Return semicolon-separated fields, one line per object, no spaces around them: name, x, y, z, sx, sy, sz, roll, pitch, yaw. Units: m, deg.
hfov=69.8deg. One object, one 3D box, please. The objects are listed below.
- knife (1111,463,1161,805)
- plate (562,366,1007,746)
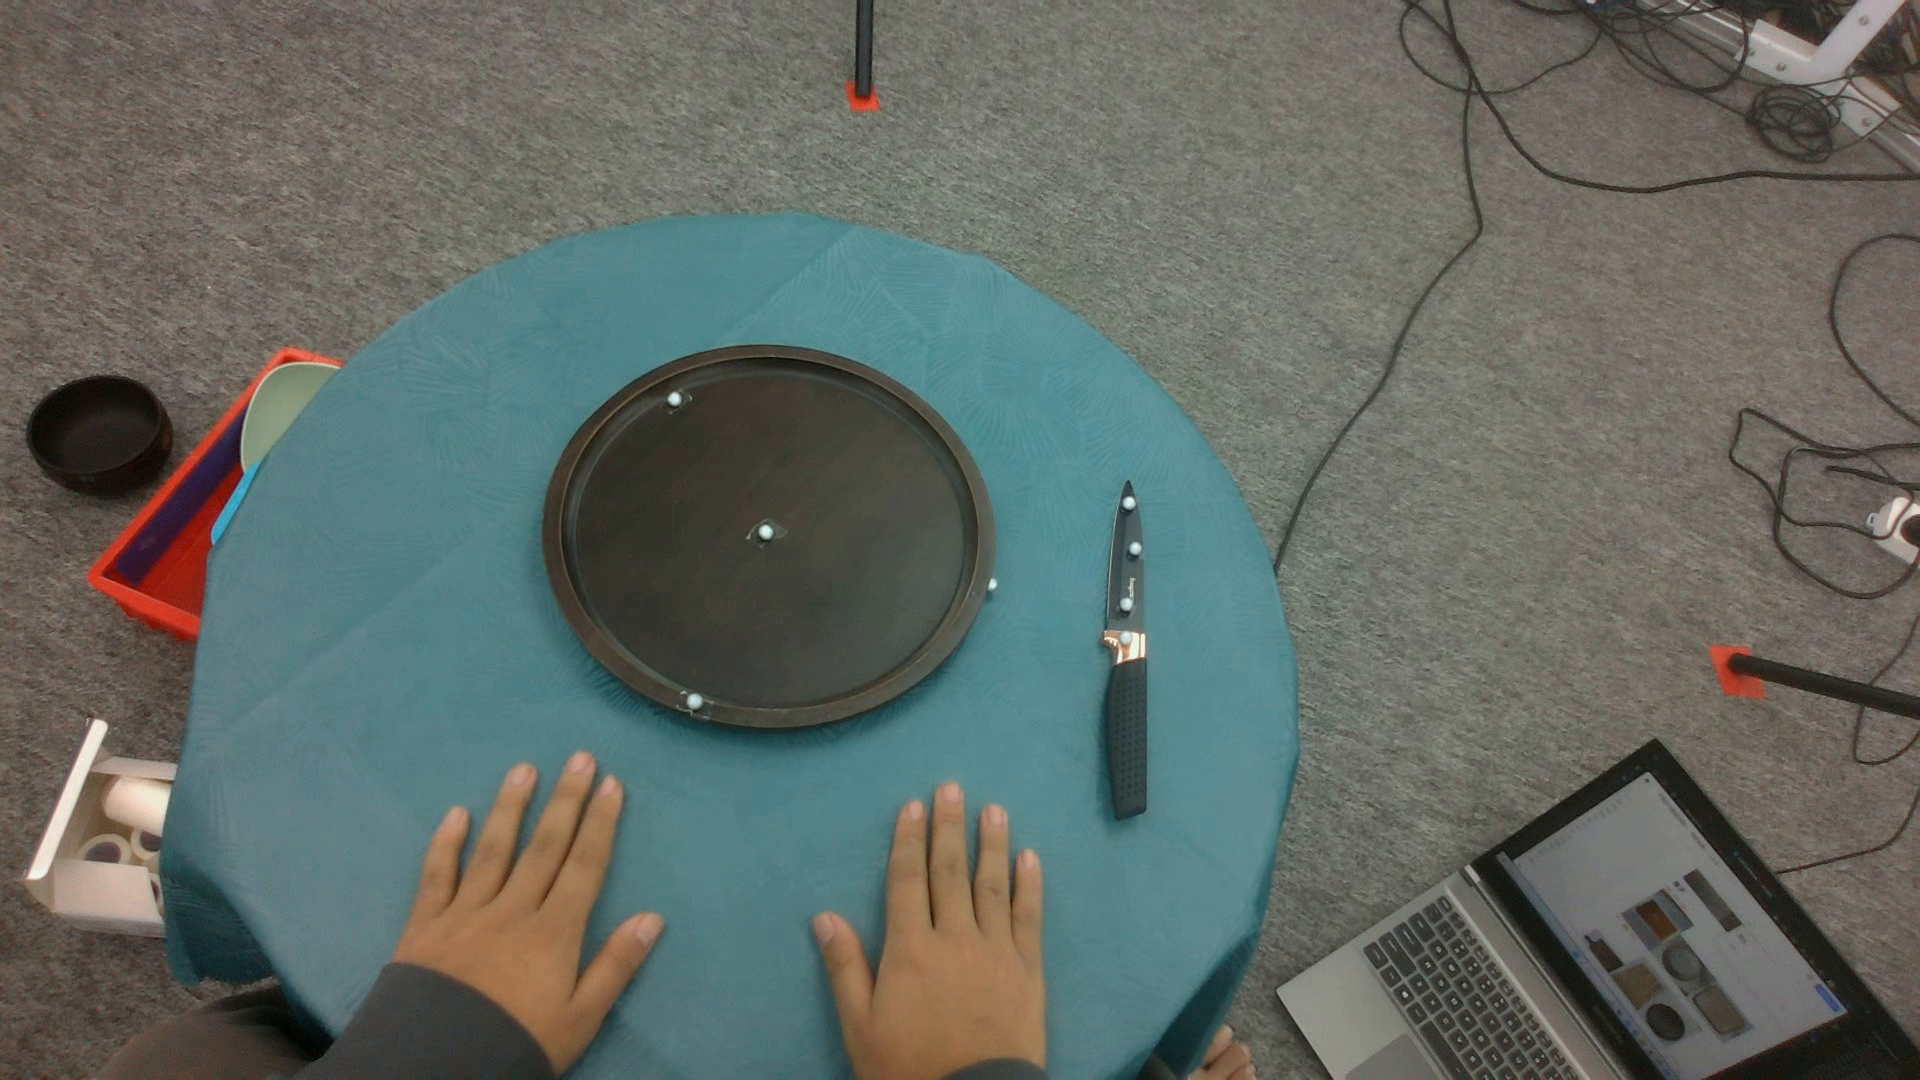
knife;0.102;0.047;0.806;0.026;0.017;0.226;2;57;0
plate;-0.099;0.003;0.799;0.255;0.029;0.256;4;59;-7
